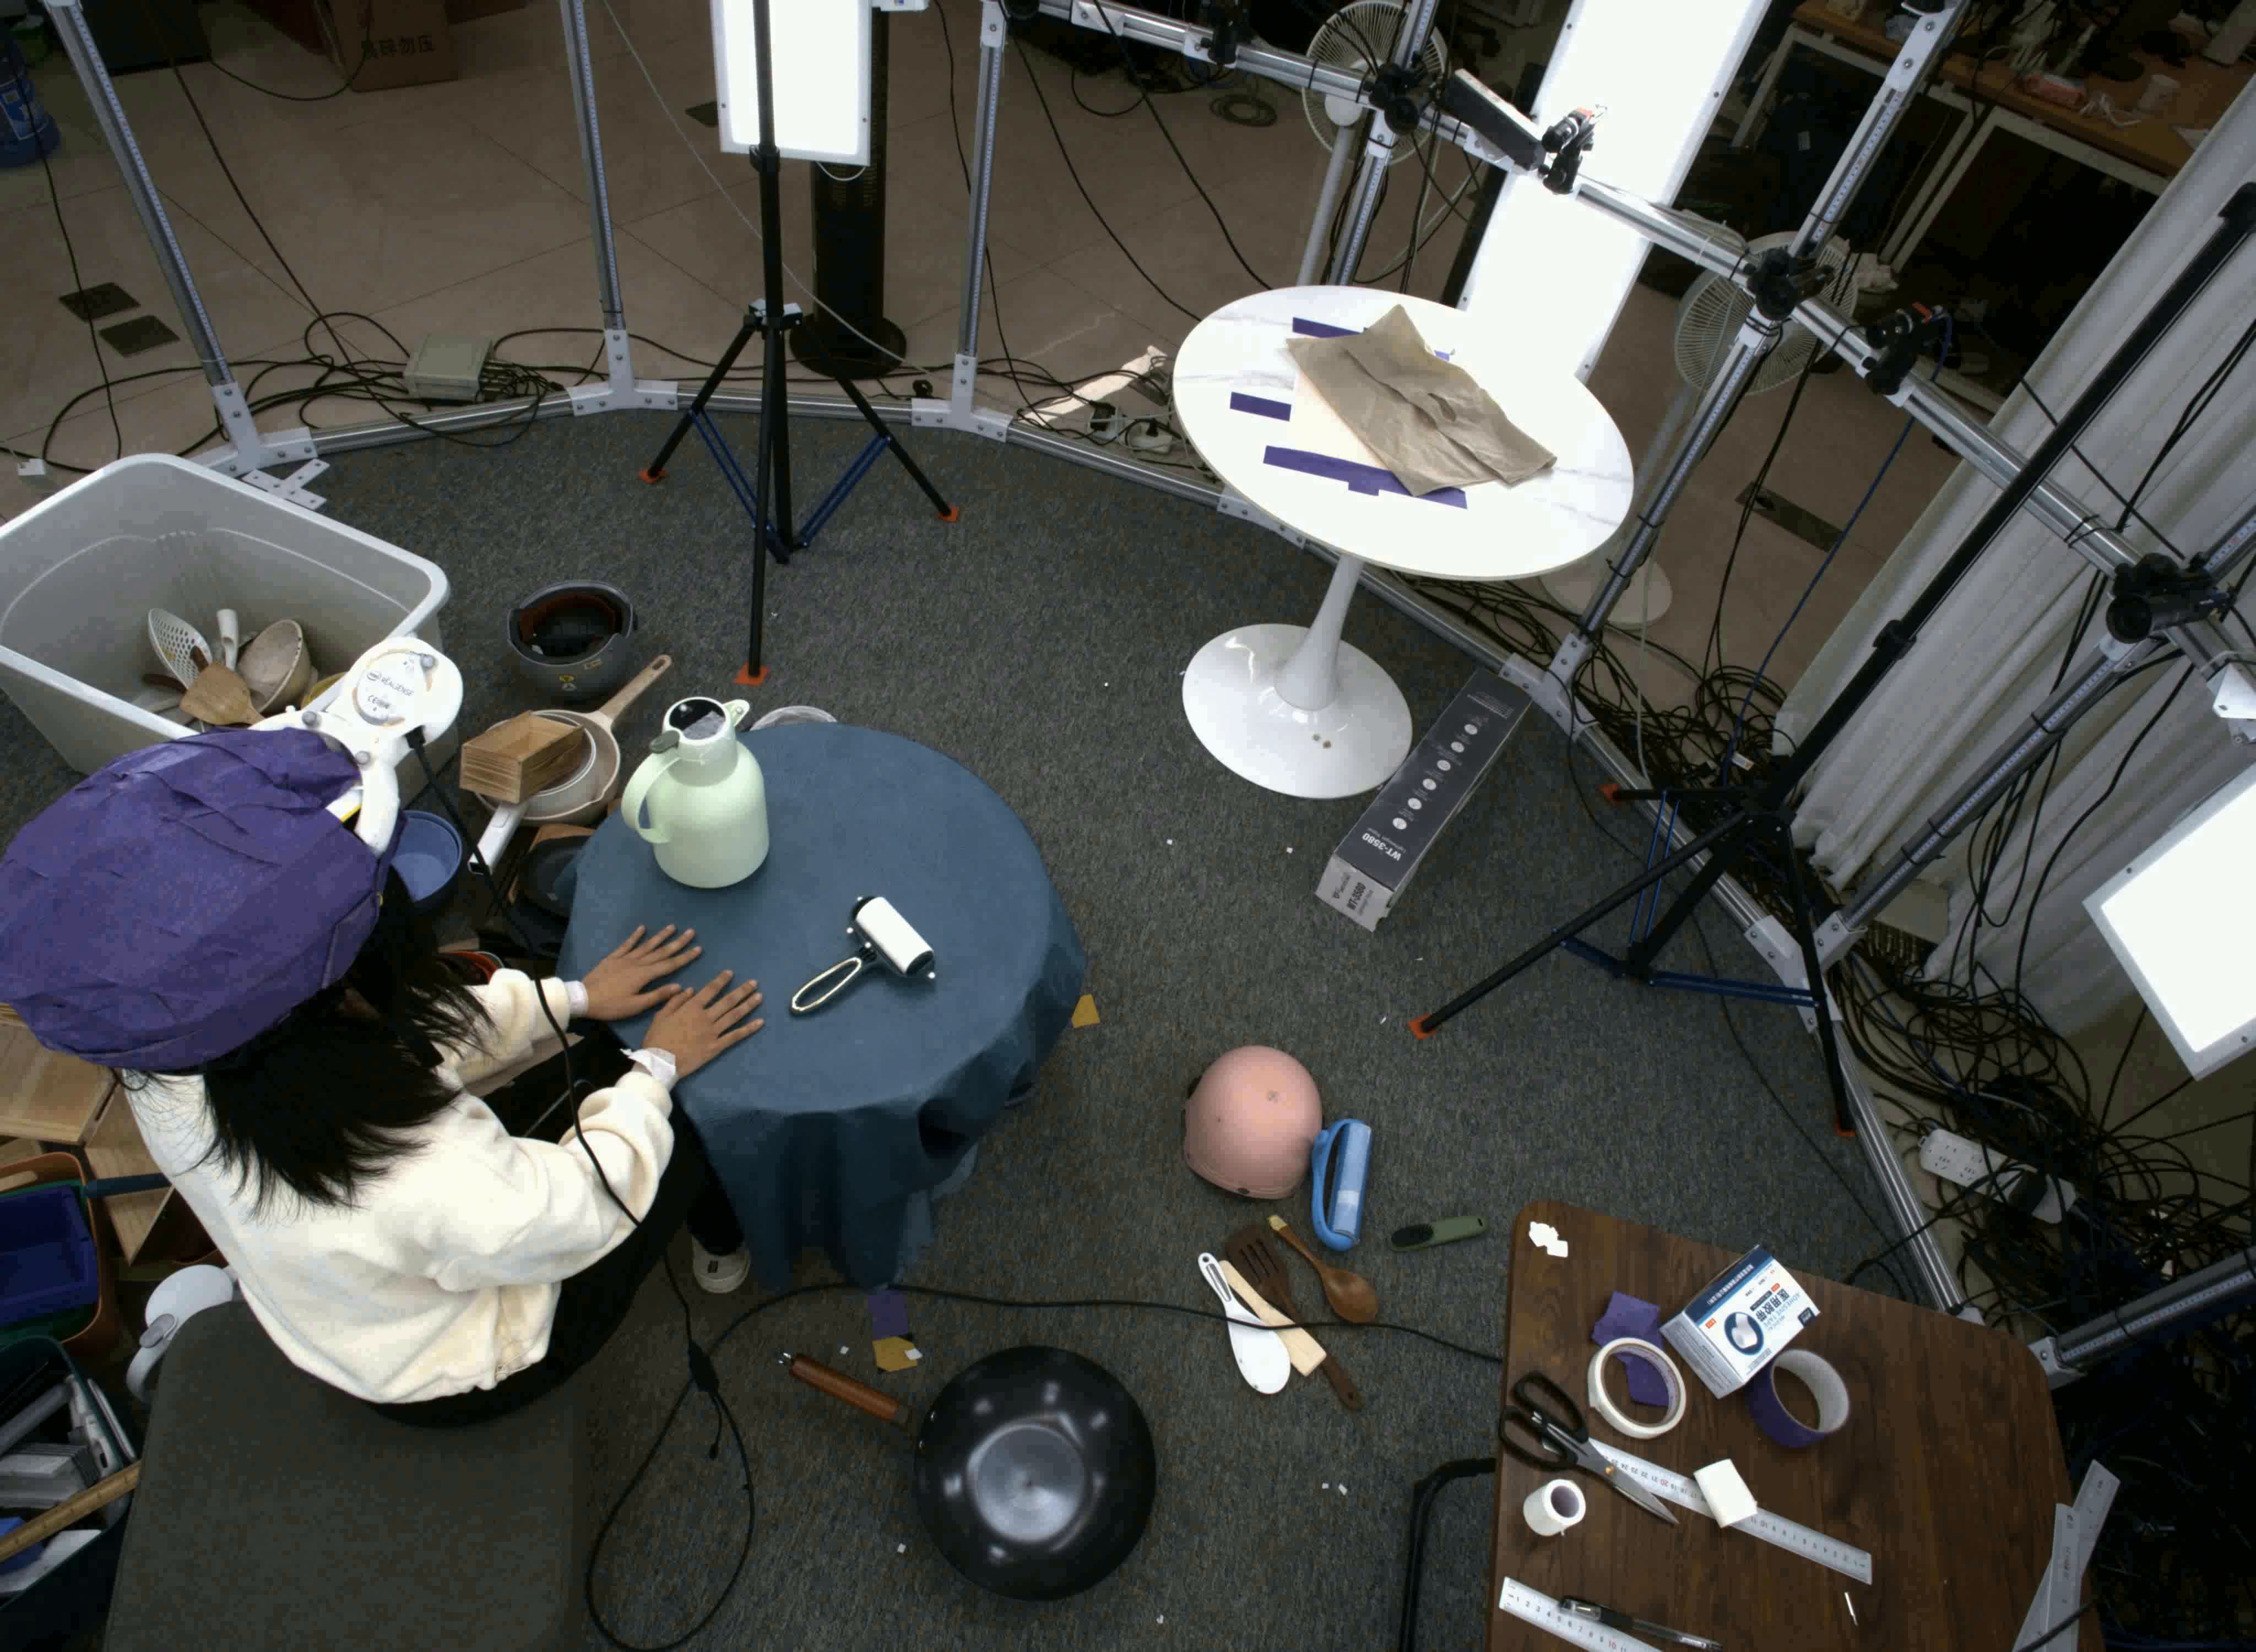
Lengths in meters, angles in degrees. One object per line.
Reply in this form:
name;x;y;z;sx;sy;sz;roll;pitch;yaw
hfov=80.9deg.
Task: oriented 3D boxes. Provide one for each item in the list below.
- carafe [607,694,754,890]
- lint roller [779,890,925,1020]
carafe;-0.543;-0.039;1.556;0.141;0.262;0.187;36;57;14
lint roller;-0.351;0.168;1.581;0.131;0.049;0.180;42;55;19
